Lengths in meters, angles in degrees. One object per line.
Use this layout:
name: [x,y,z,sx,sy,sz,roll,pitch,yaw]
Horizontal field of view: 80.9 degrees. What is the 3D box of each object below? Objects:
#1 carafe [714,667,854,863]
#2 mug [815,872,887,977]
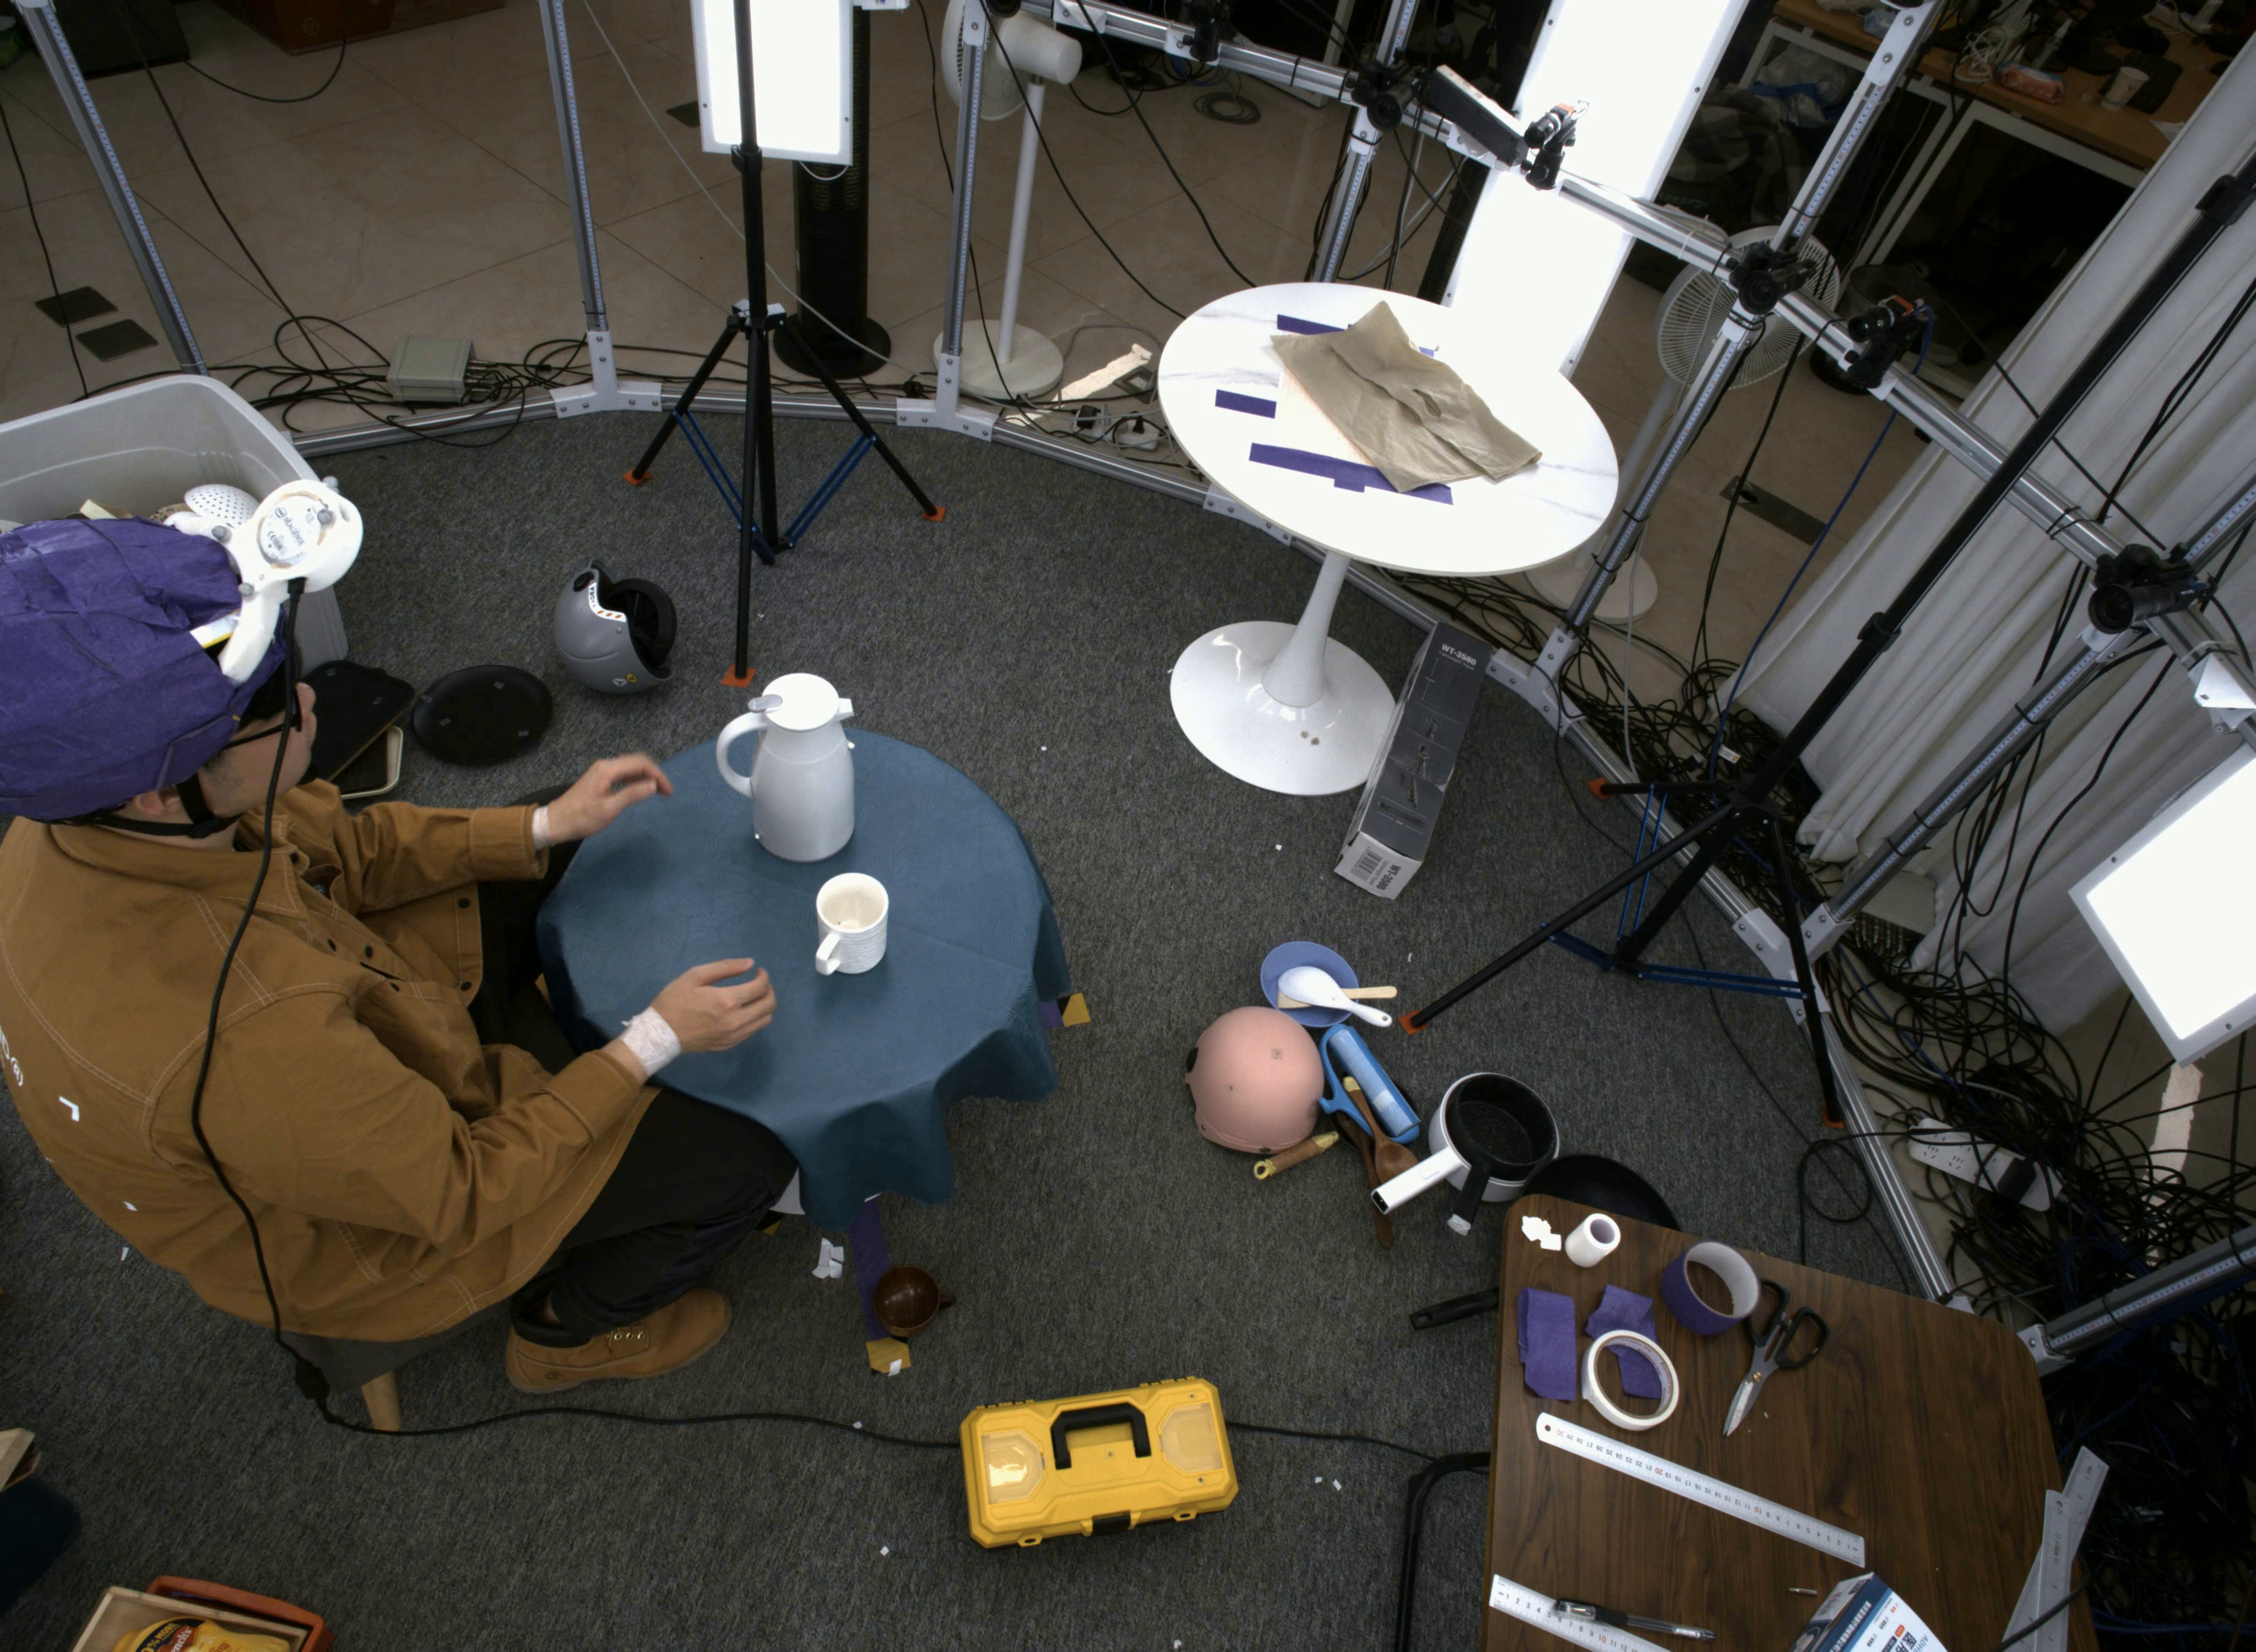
carafe: [-0.429,-0.078,1.618,0.168,0.254,0.129,-9,55,-18]
mug: [-0.343,0.130,1.579,0.084,0.104,0.117,22,52,6]
